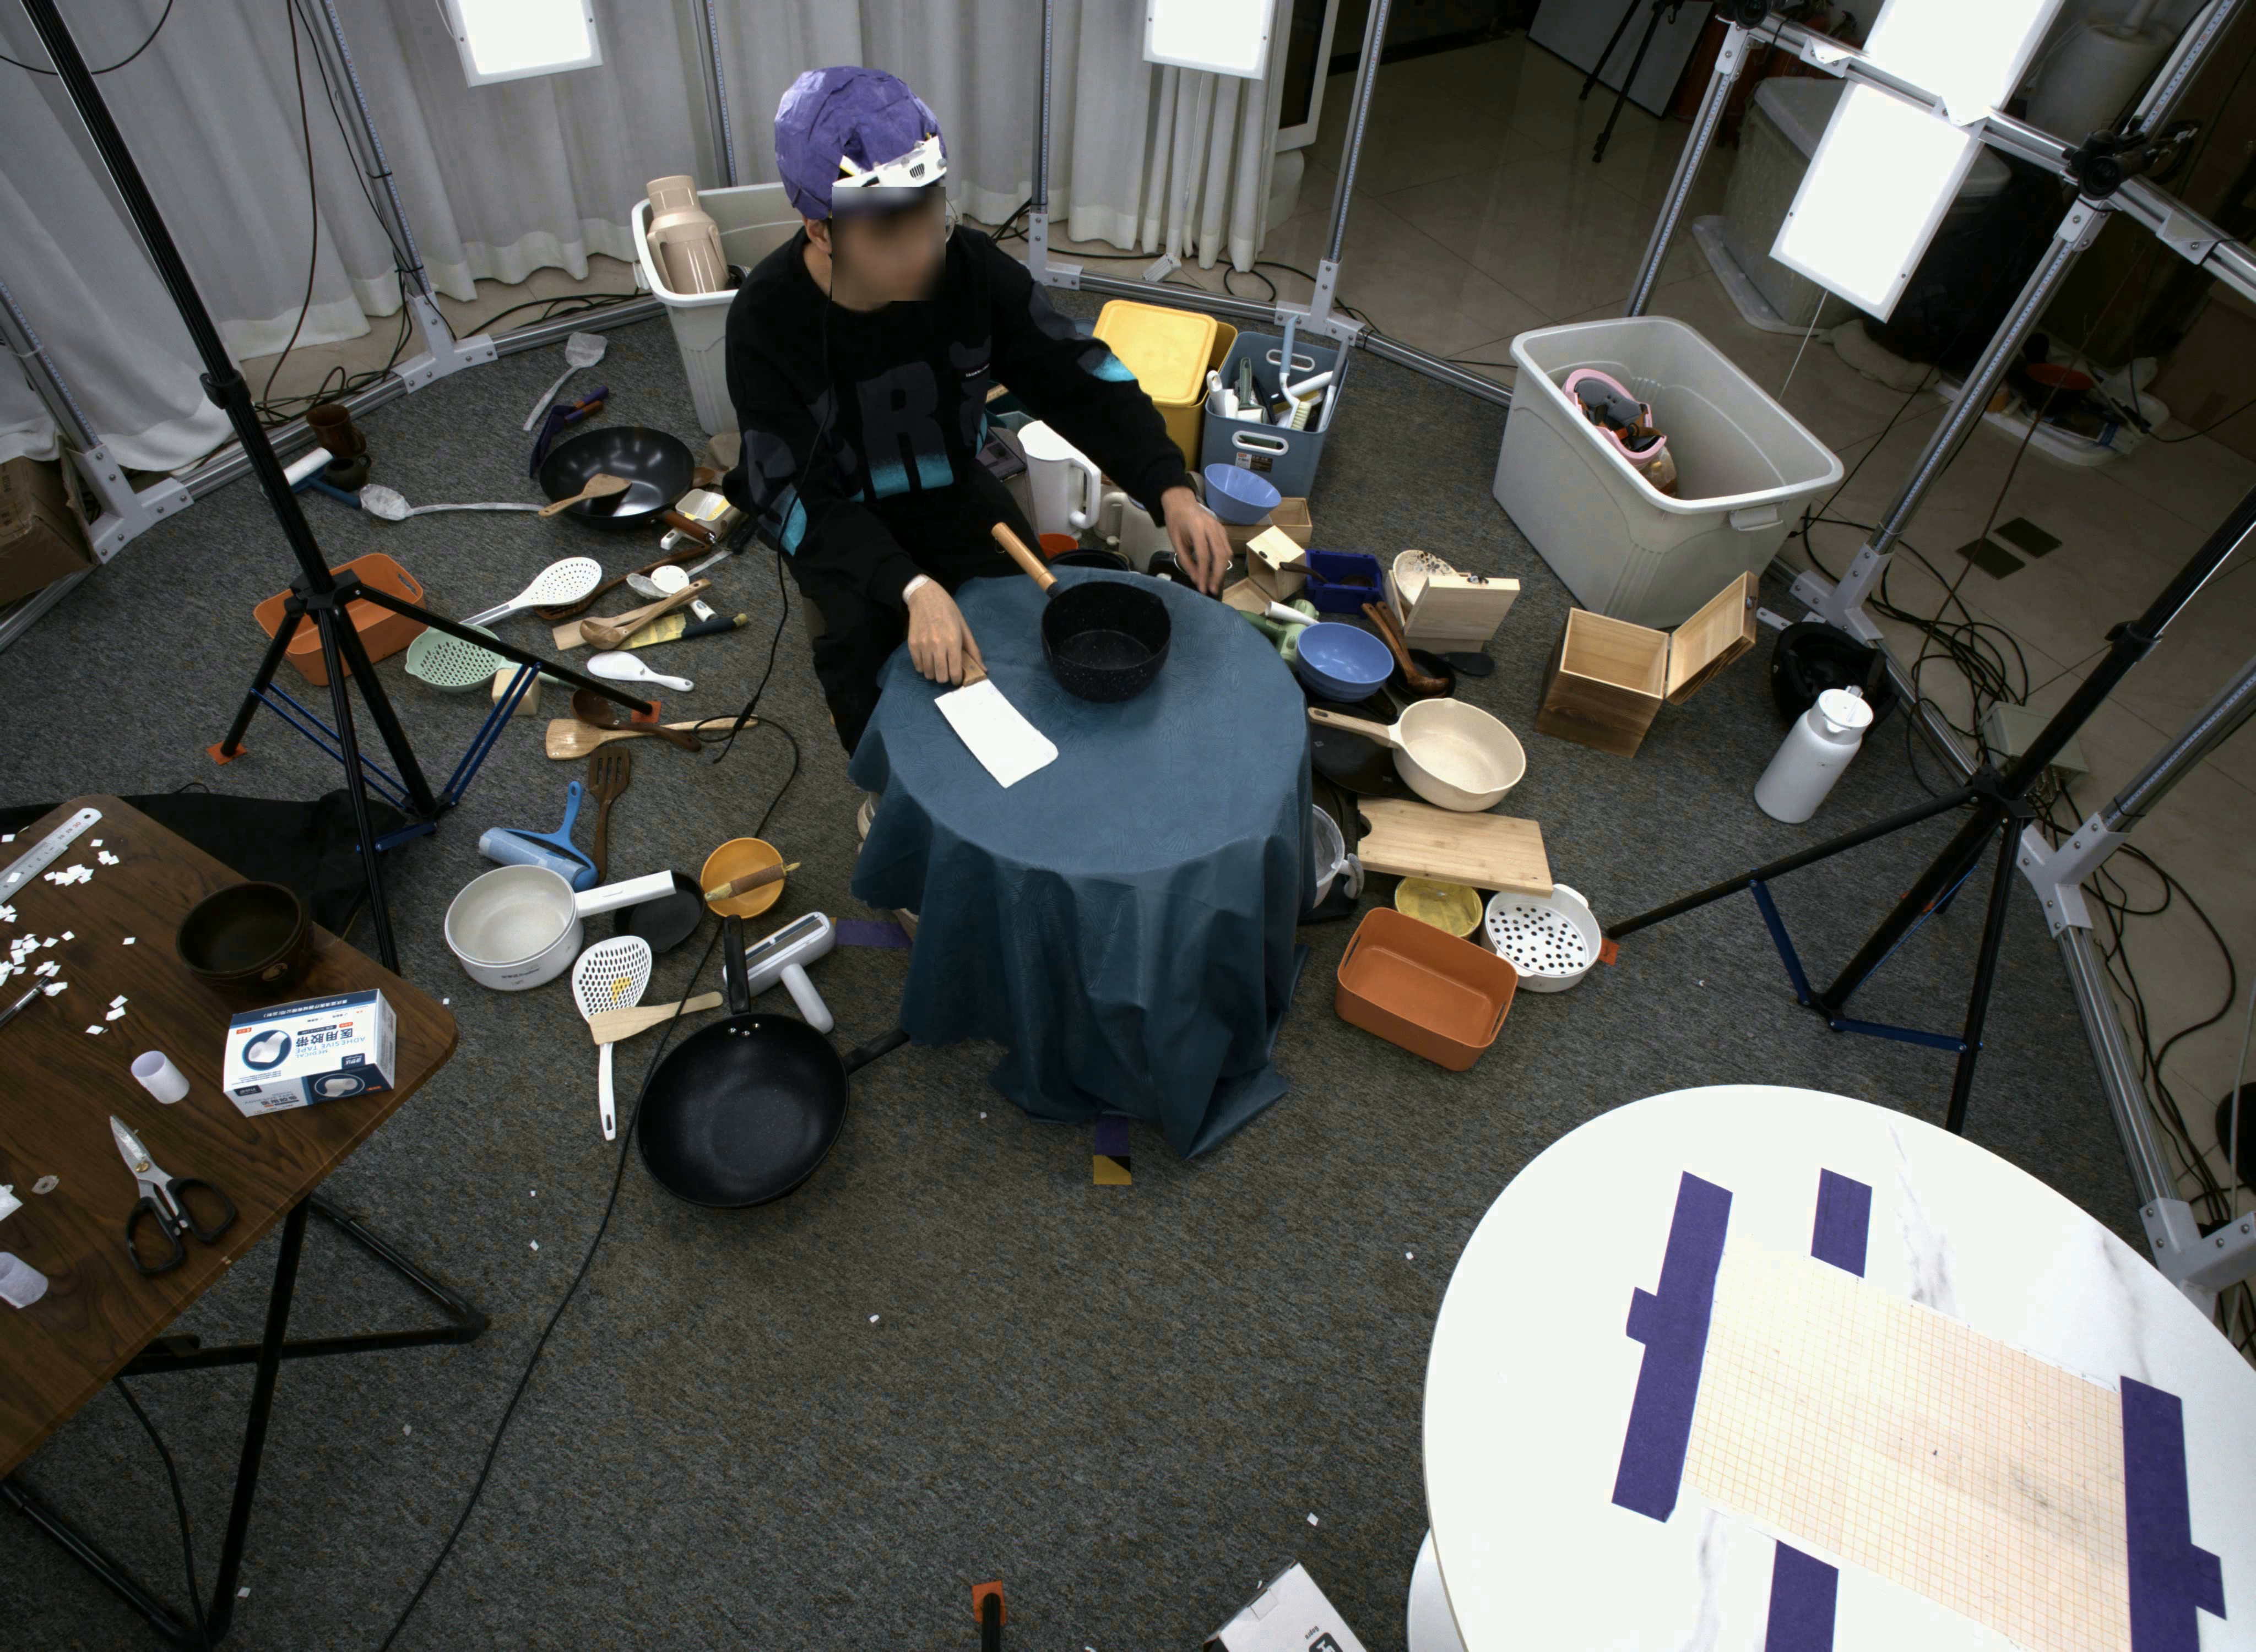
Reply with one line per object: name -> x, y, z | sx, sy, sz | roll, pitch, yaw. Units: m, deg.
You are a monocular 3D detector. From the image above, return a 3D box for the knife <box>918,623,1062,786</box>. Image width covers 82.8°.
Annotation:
knife -> -0.206, -0.177, 1.797 | 0.114, 0.021, 0.322 | -24, 57, -22

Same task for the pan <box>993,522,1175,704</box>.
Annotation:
pan -> -0.082, -0.311, 1.863 | 0.209, 0.105, 0.348 | -34, 60, -28
